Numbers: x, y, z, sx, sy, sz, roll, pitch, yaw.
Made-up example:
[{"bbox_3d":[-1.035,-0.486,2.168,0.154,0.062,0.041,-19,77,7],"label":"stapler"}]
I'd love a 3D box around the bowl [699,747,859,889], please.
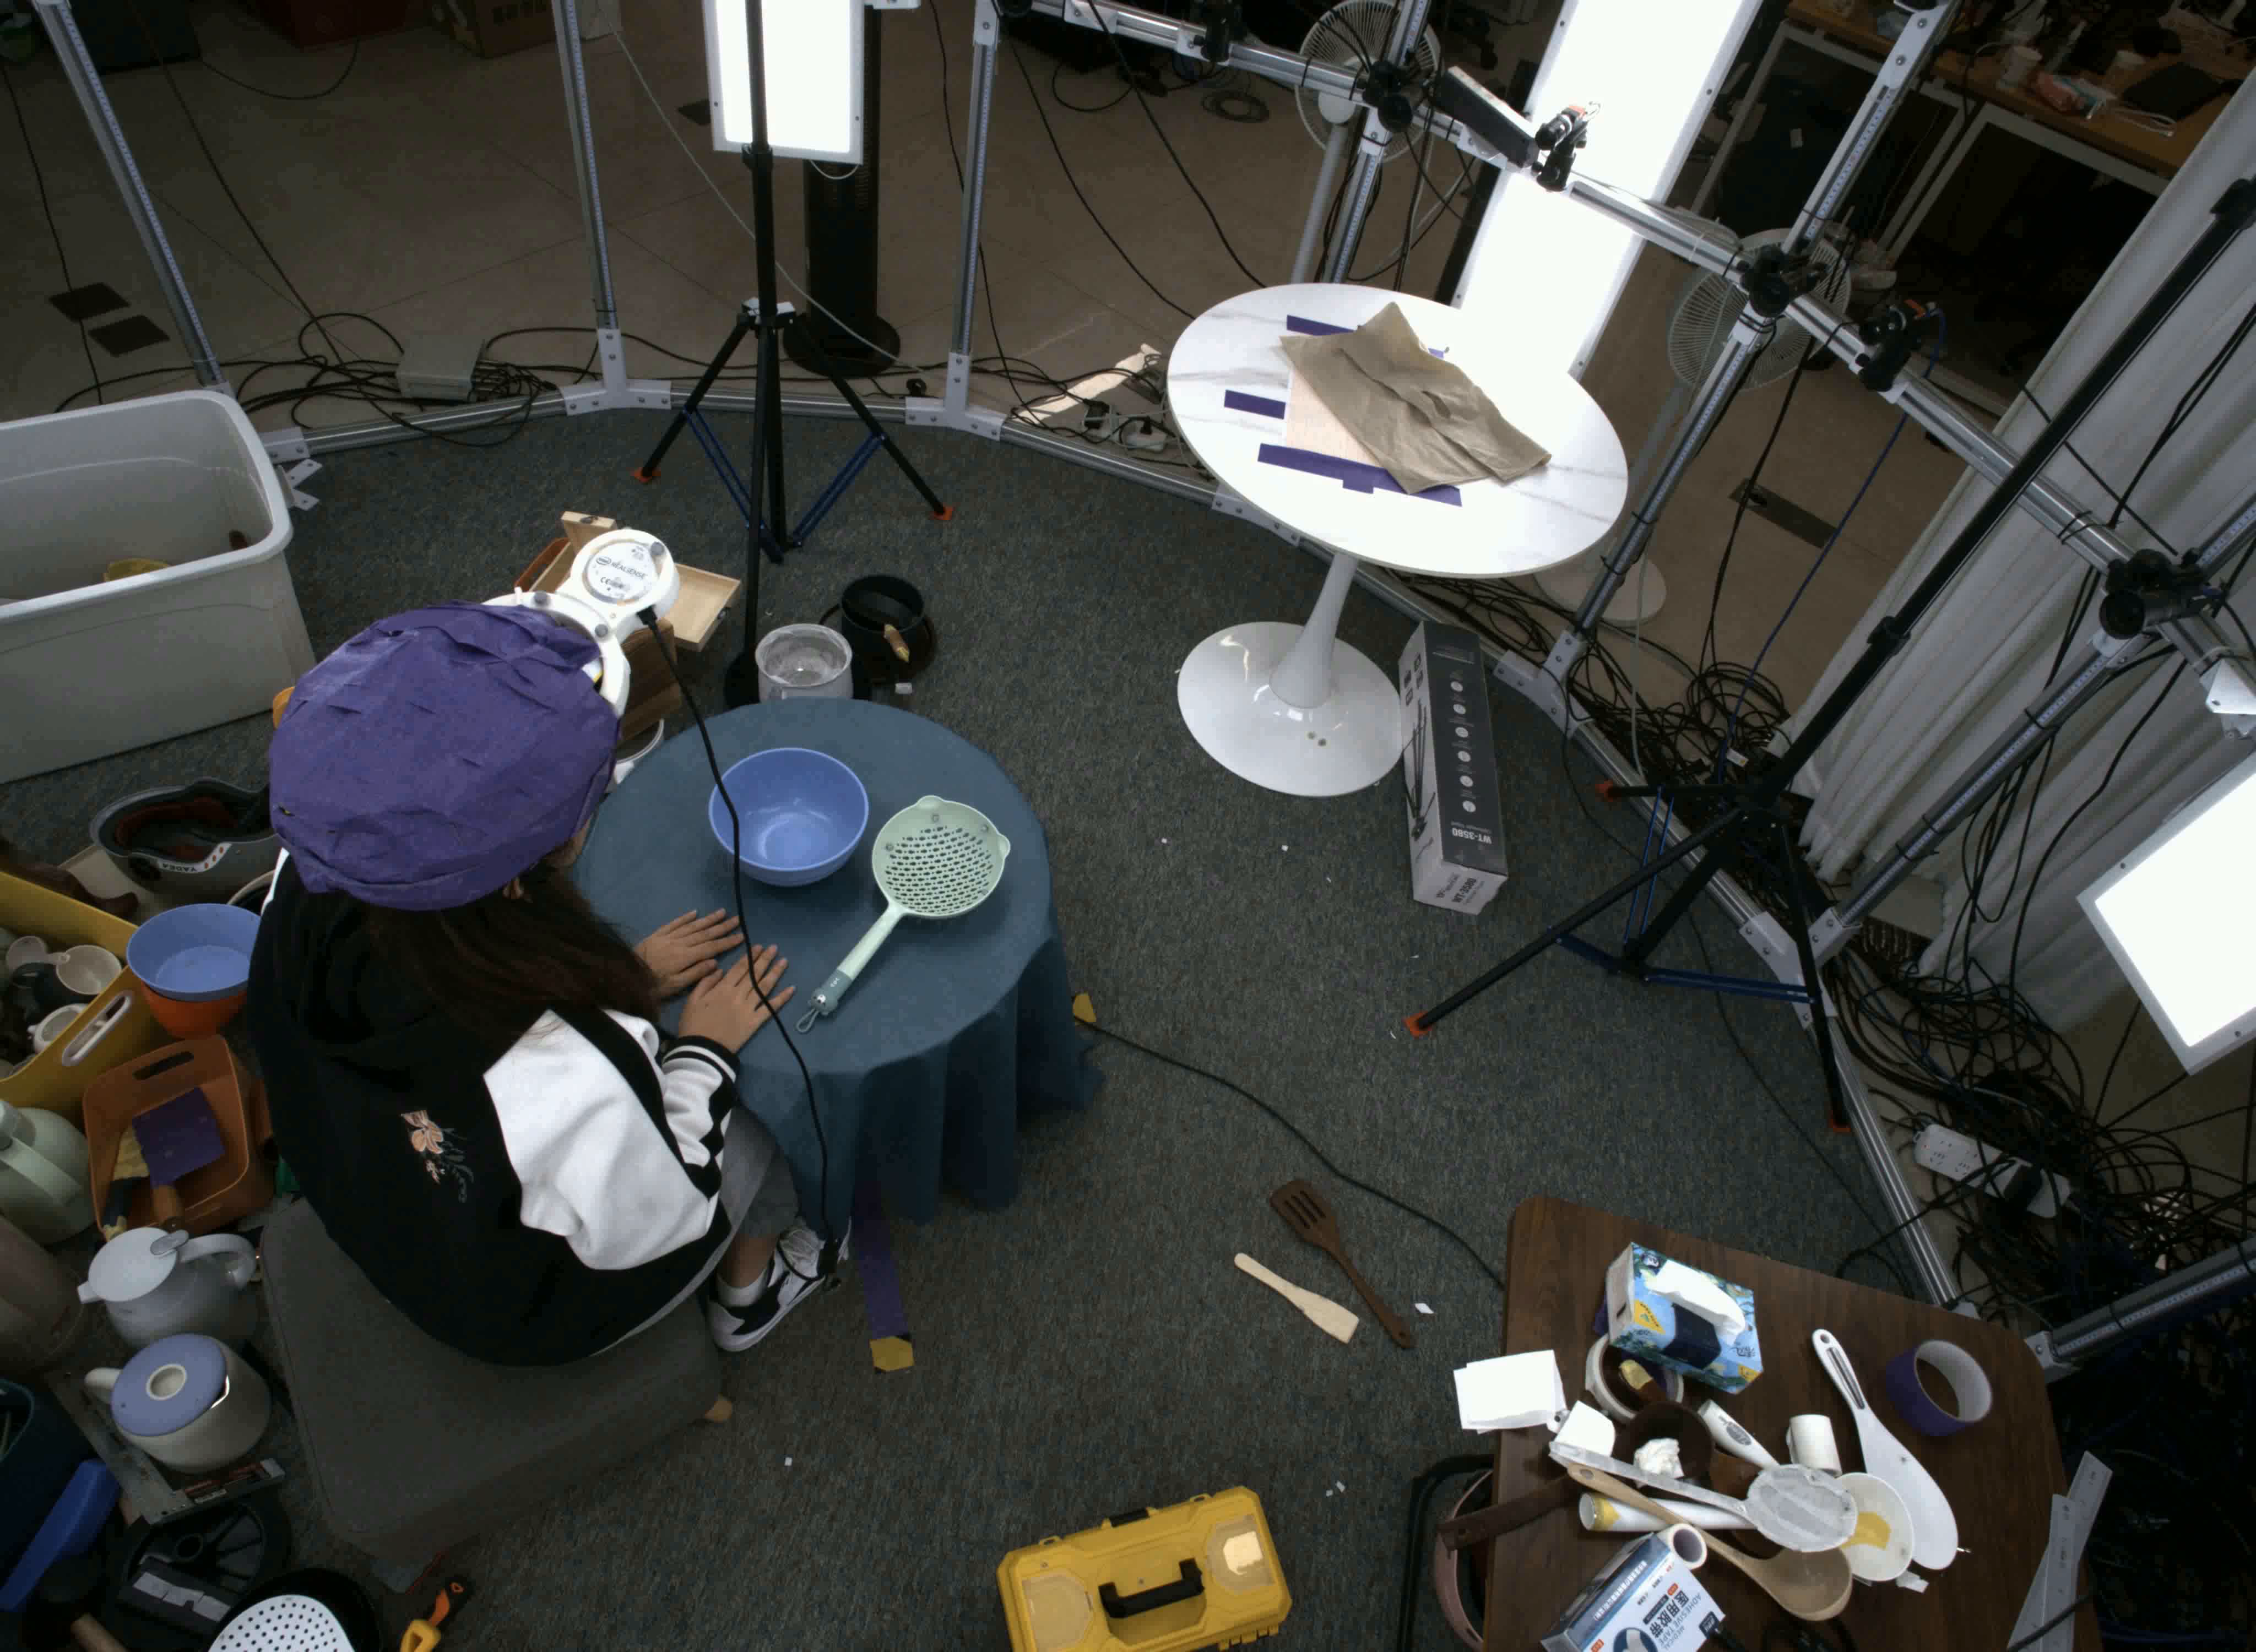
[{"bbox_3d":[-0.442,0.004,1.650,0.196,0.097,0.193,8,52,-9],"label":"bowl"}]

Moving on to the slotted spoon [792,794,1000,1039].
[{"bbox_3d":[-0.304,0.114,1.628,0.166,0.077,0.357,30,54,10],"label":"slotted spoon"}]
